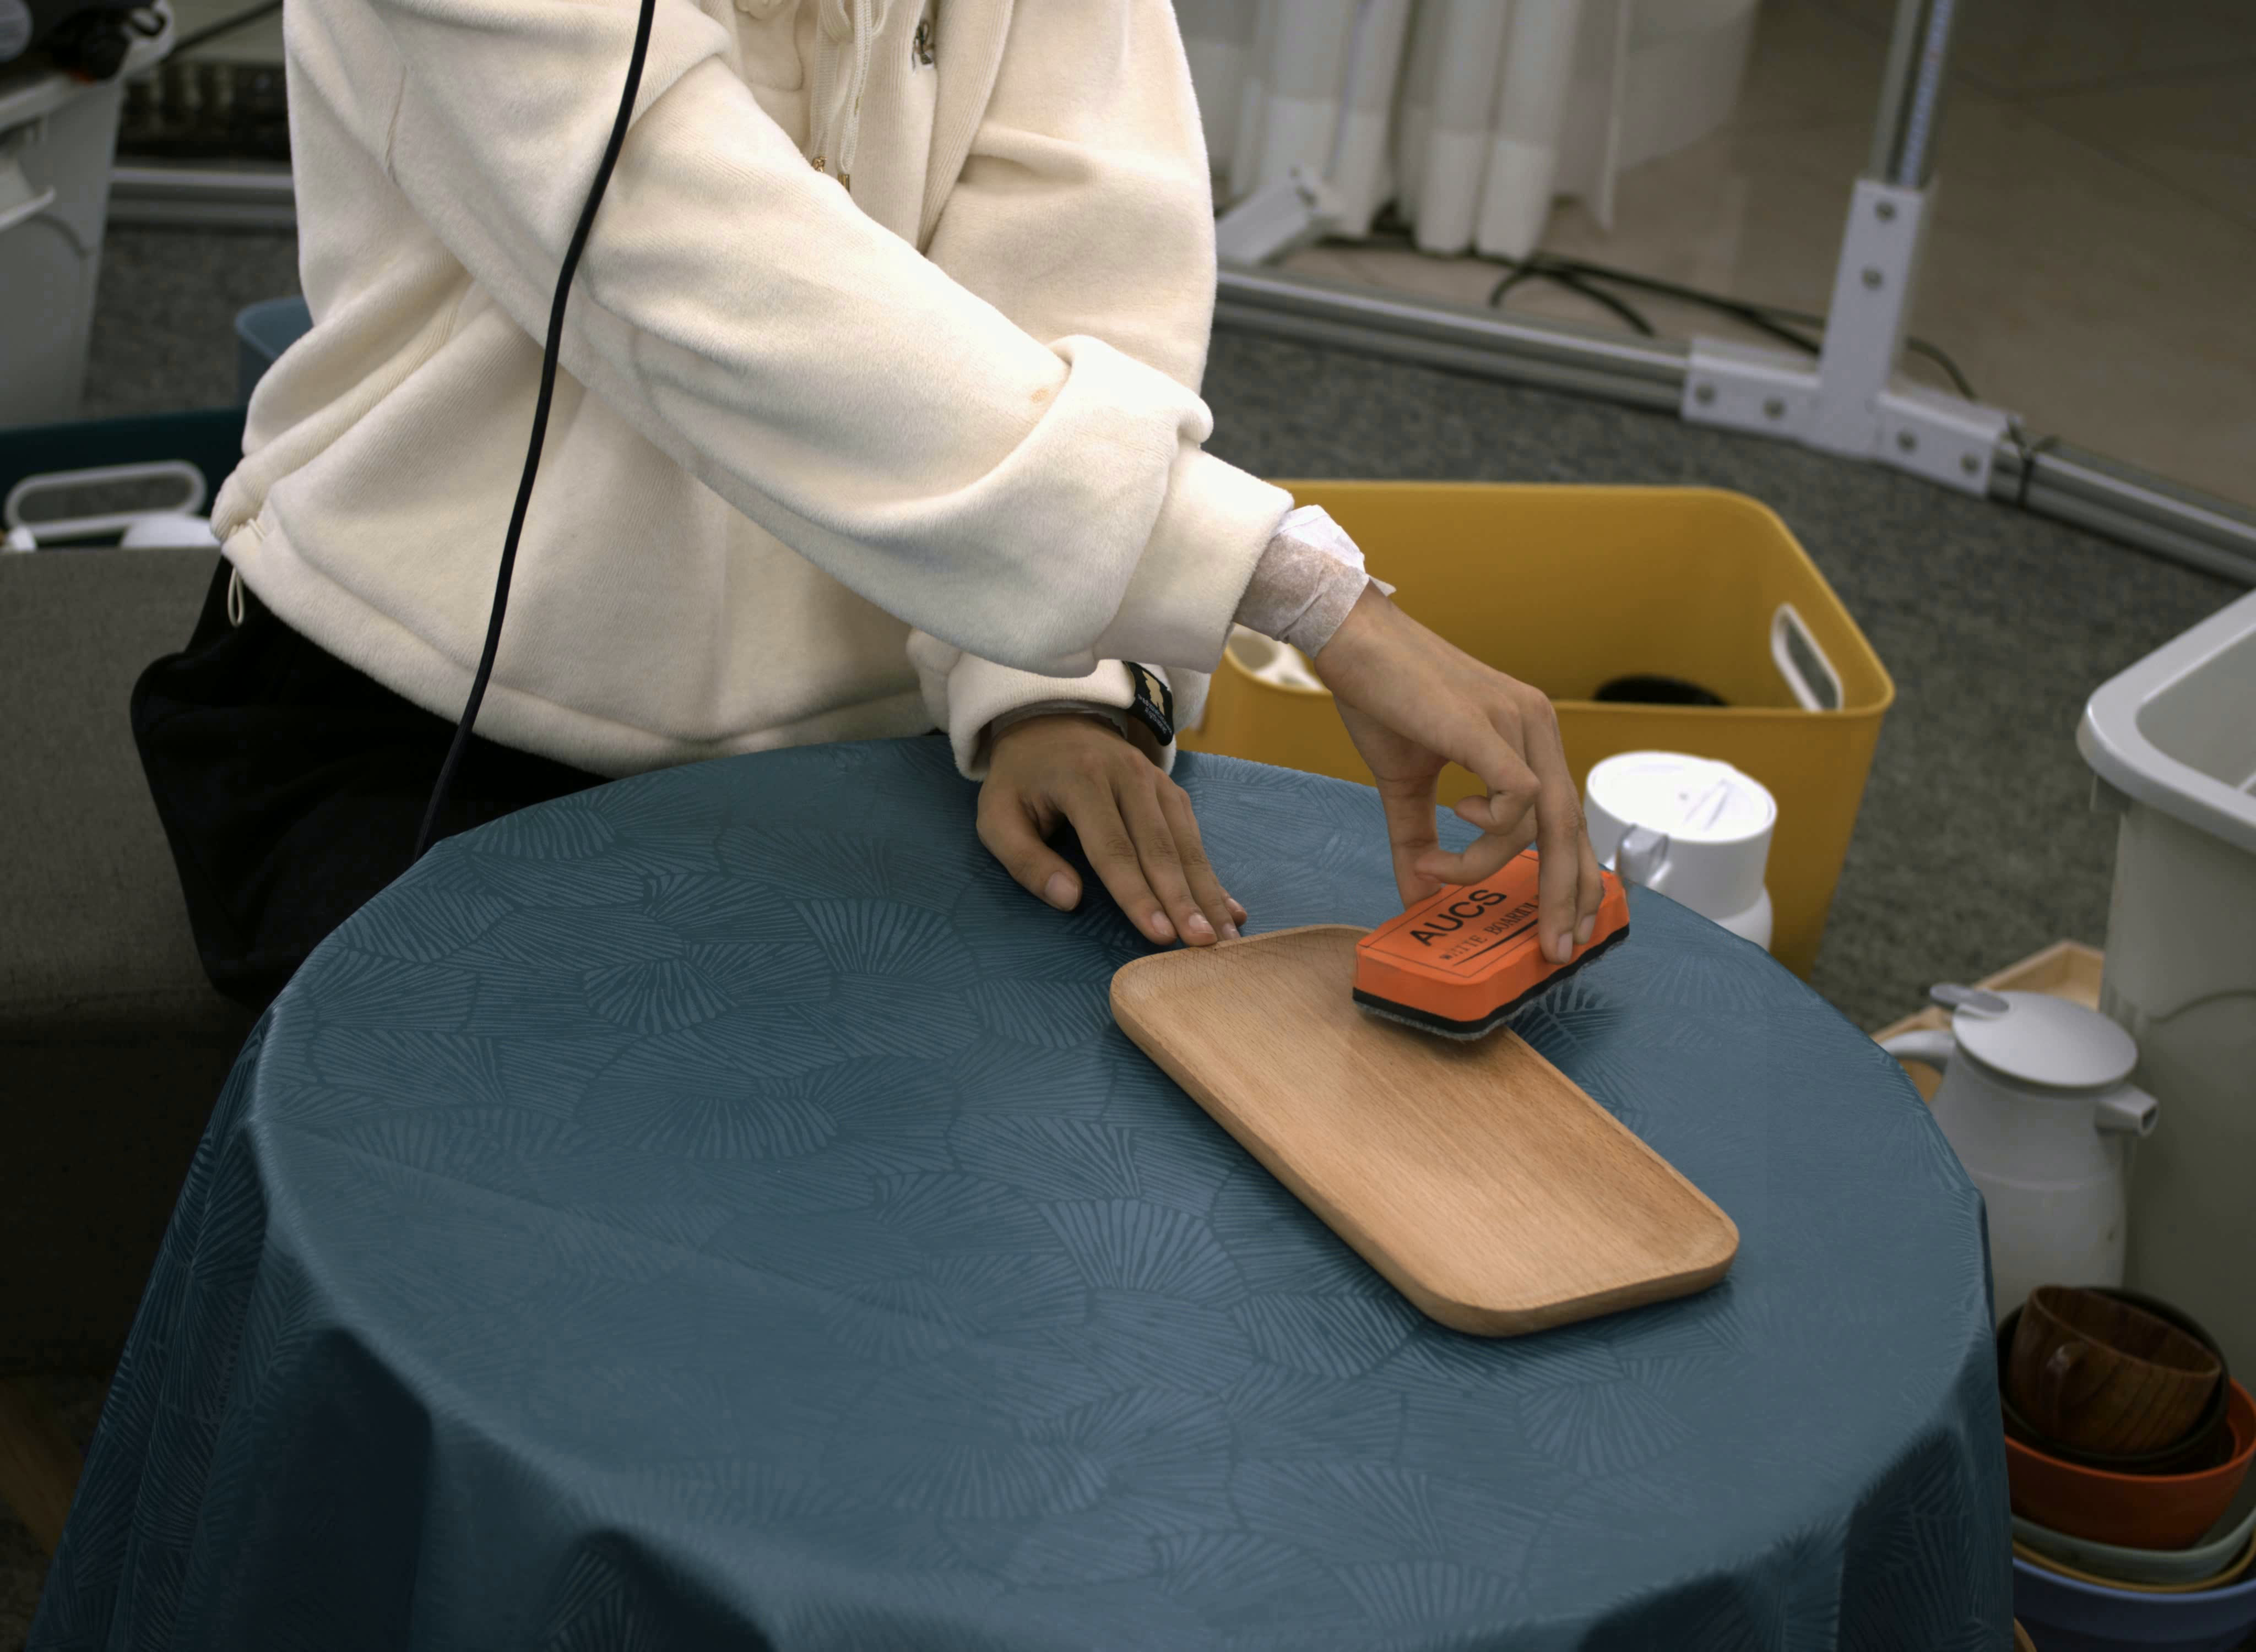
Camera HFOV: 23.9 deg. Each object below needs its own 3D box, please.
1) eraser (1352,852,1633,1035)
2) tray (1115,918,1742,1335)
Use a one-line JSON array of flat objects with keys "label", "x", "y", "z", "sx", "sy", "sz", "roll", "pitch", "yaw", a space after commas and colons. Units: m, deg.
[{"label": "eraser", "x": 0.132, "y": 0.042, "z": 1.927, "sx": 0.059, "sy": 0.023, "sz": 0.107, "roll": 17, "pitch": 31, "yaw": 36}, {"label": "tray", "x": 0.100, "y": 0.101, "z": 1.848, "sx": 0.129, "sy": 0.023, "sz": 0.253, "roll": -6, "pitch": 29, "yaw": -29}]
